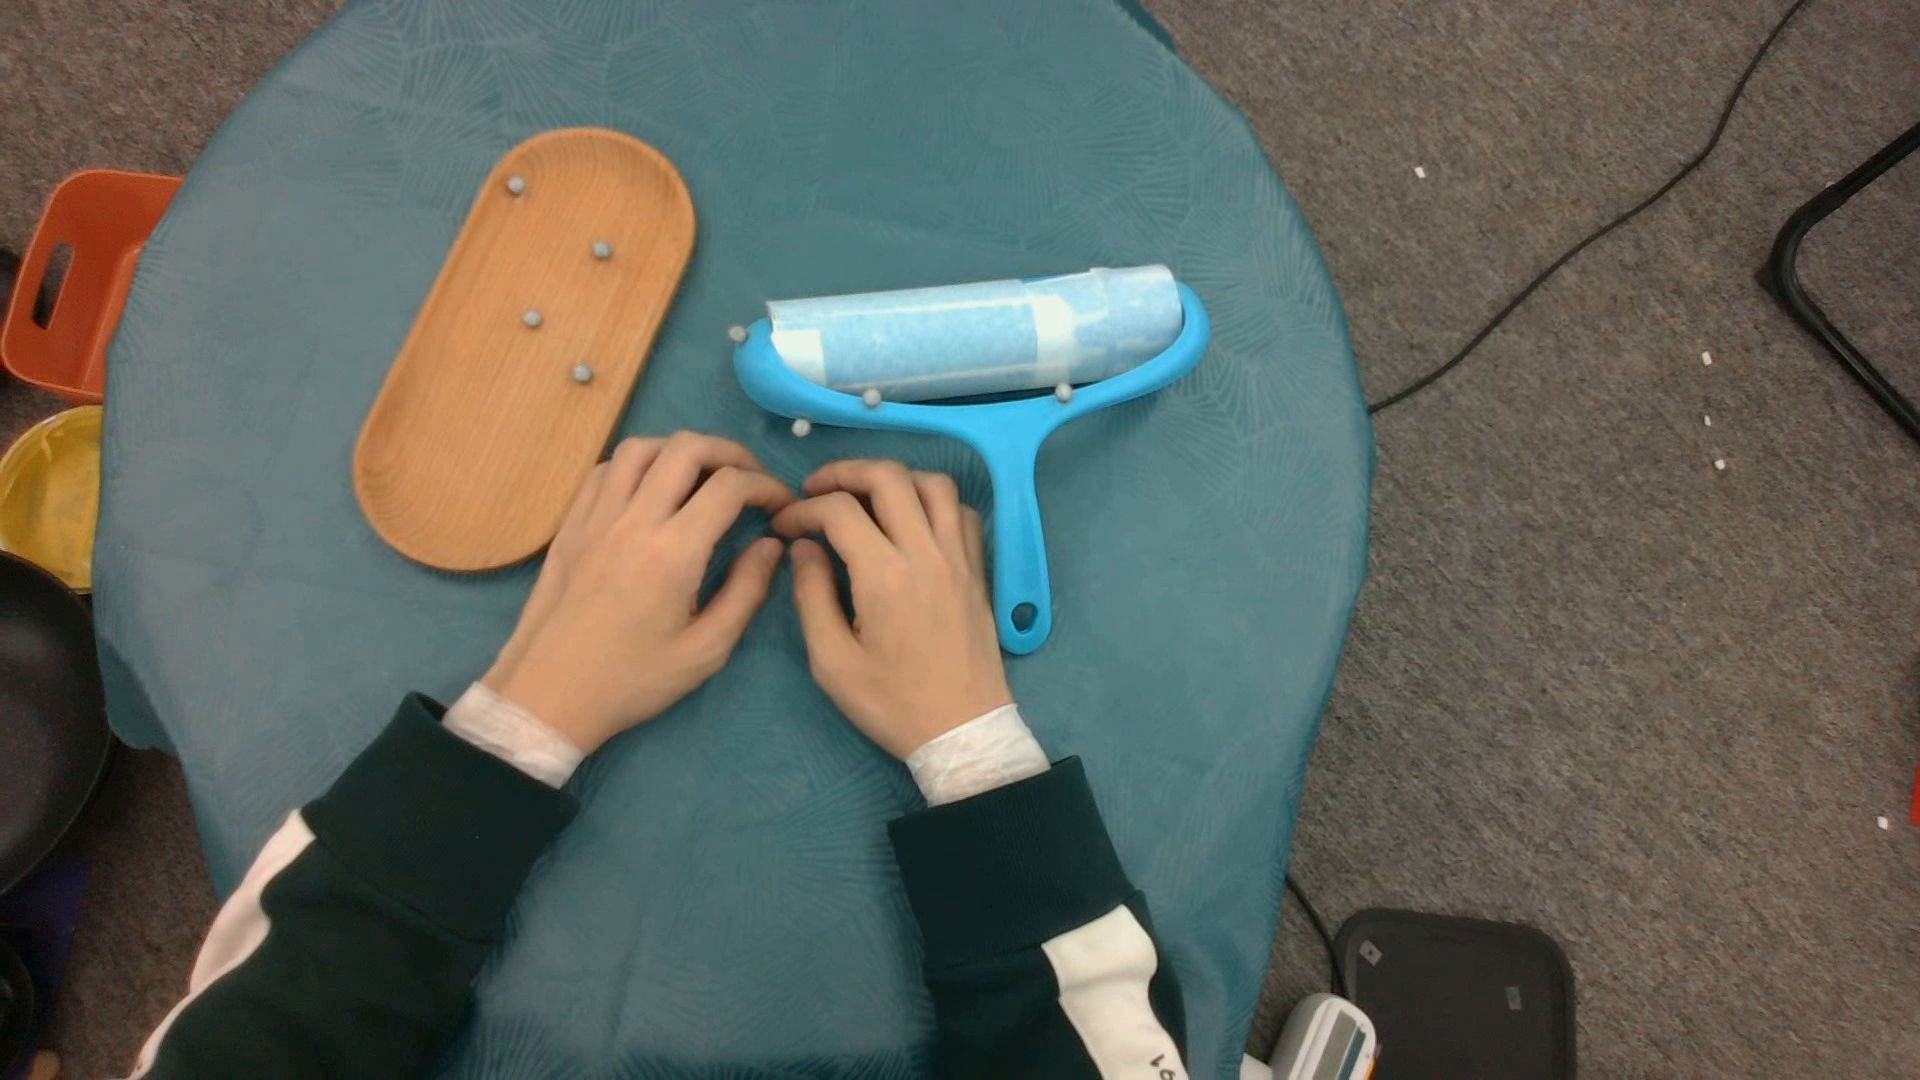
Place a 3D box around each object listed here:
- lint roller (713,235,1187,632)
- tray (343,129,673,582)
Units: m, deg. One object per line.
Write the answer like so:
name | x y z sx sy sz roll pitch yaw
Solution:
lint roller | 0.012 -0.051 0.643 0.229 0.067 0.180 -12 75 -13
tray | -0.206 -0.090 0.642 0.102 0.020 0.232 17 74 -2
